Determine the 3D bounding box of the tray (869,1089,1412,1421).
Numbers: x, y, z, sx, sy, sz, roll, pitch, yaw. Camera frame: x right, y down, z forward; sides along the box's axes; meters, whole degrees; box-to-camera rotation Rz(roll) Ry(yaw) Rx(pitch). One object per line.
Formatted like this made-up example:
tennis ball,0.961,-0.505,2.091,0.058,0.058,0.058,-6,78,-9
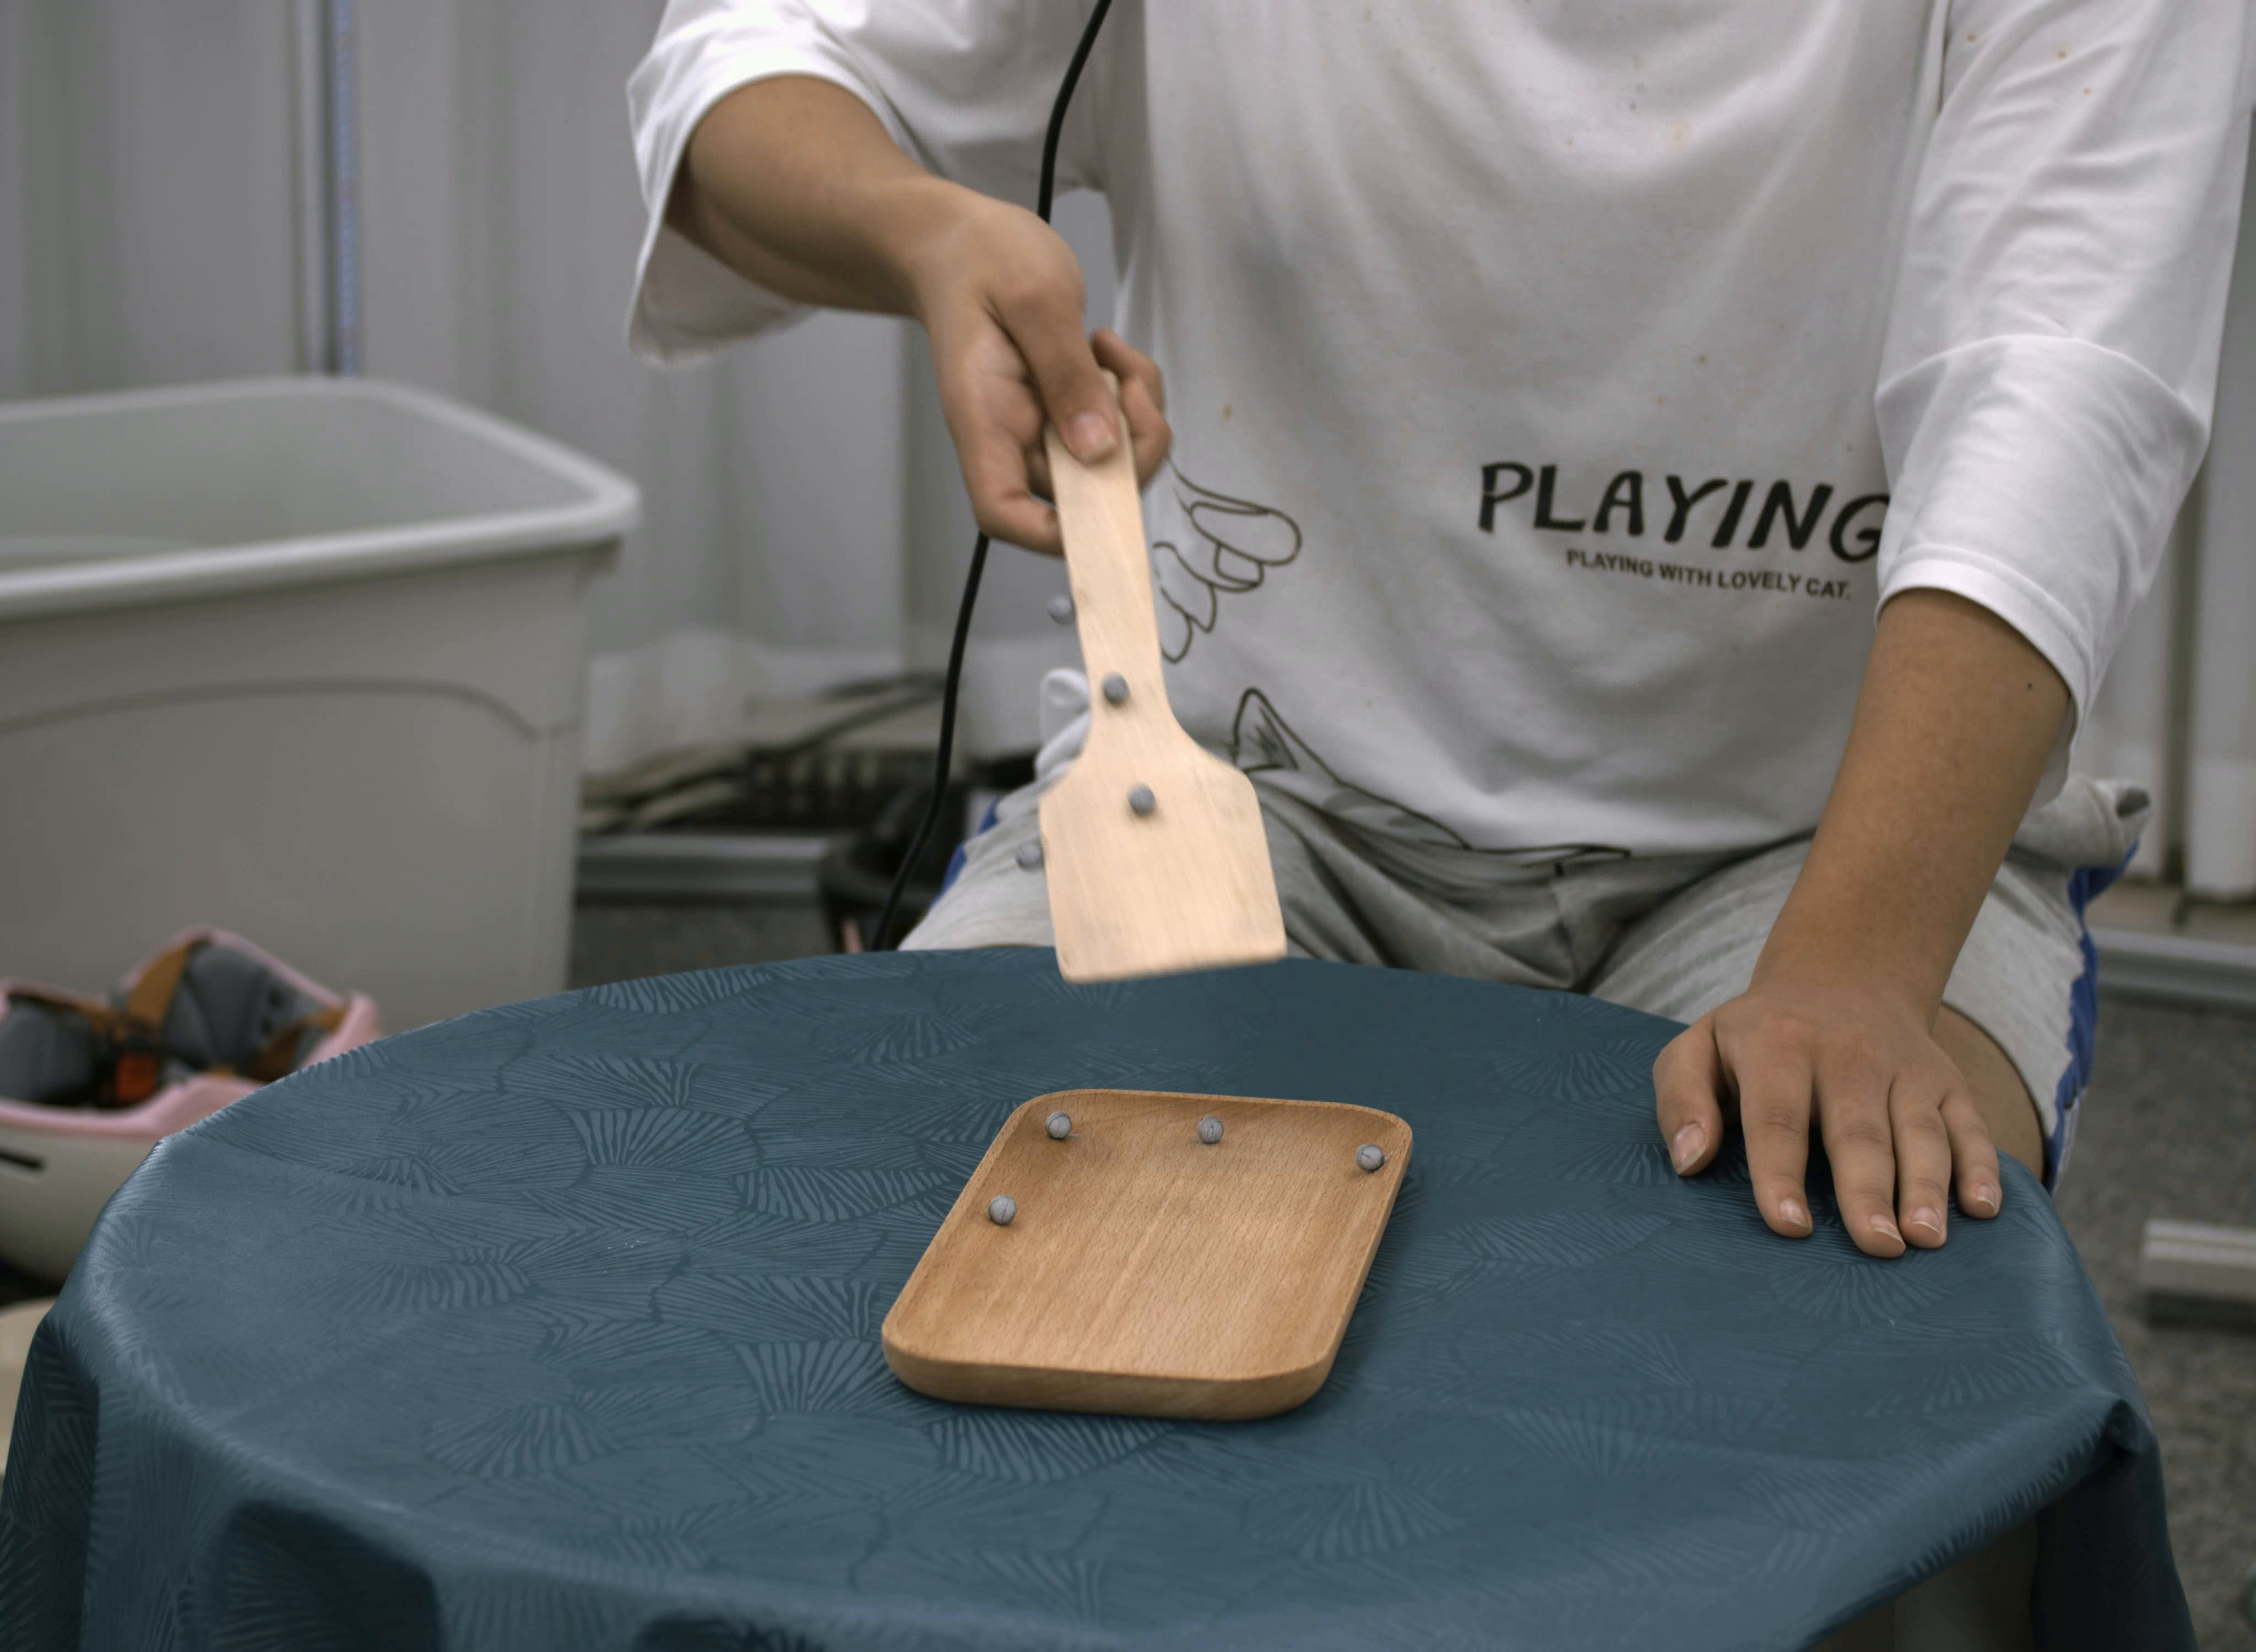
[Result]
tray,0.008,0.124,1.558,0.129,0.023,0.250,1,15,11

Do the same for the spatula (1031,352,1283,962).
spatula,-0.005,-0.060,1.706,0.072,0.011,0.290,-7,45,-3
